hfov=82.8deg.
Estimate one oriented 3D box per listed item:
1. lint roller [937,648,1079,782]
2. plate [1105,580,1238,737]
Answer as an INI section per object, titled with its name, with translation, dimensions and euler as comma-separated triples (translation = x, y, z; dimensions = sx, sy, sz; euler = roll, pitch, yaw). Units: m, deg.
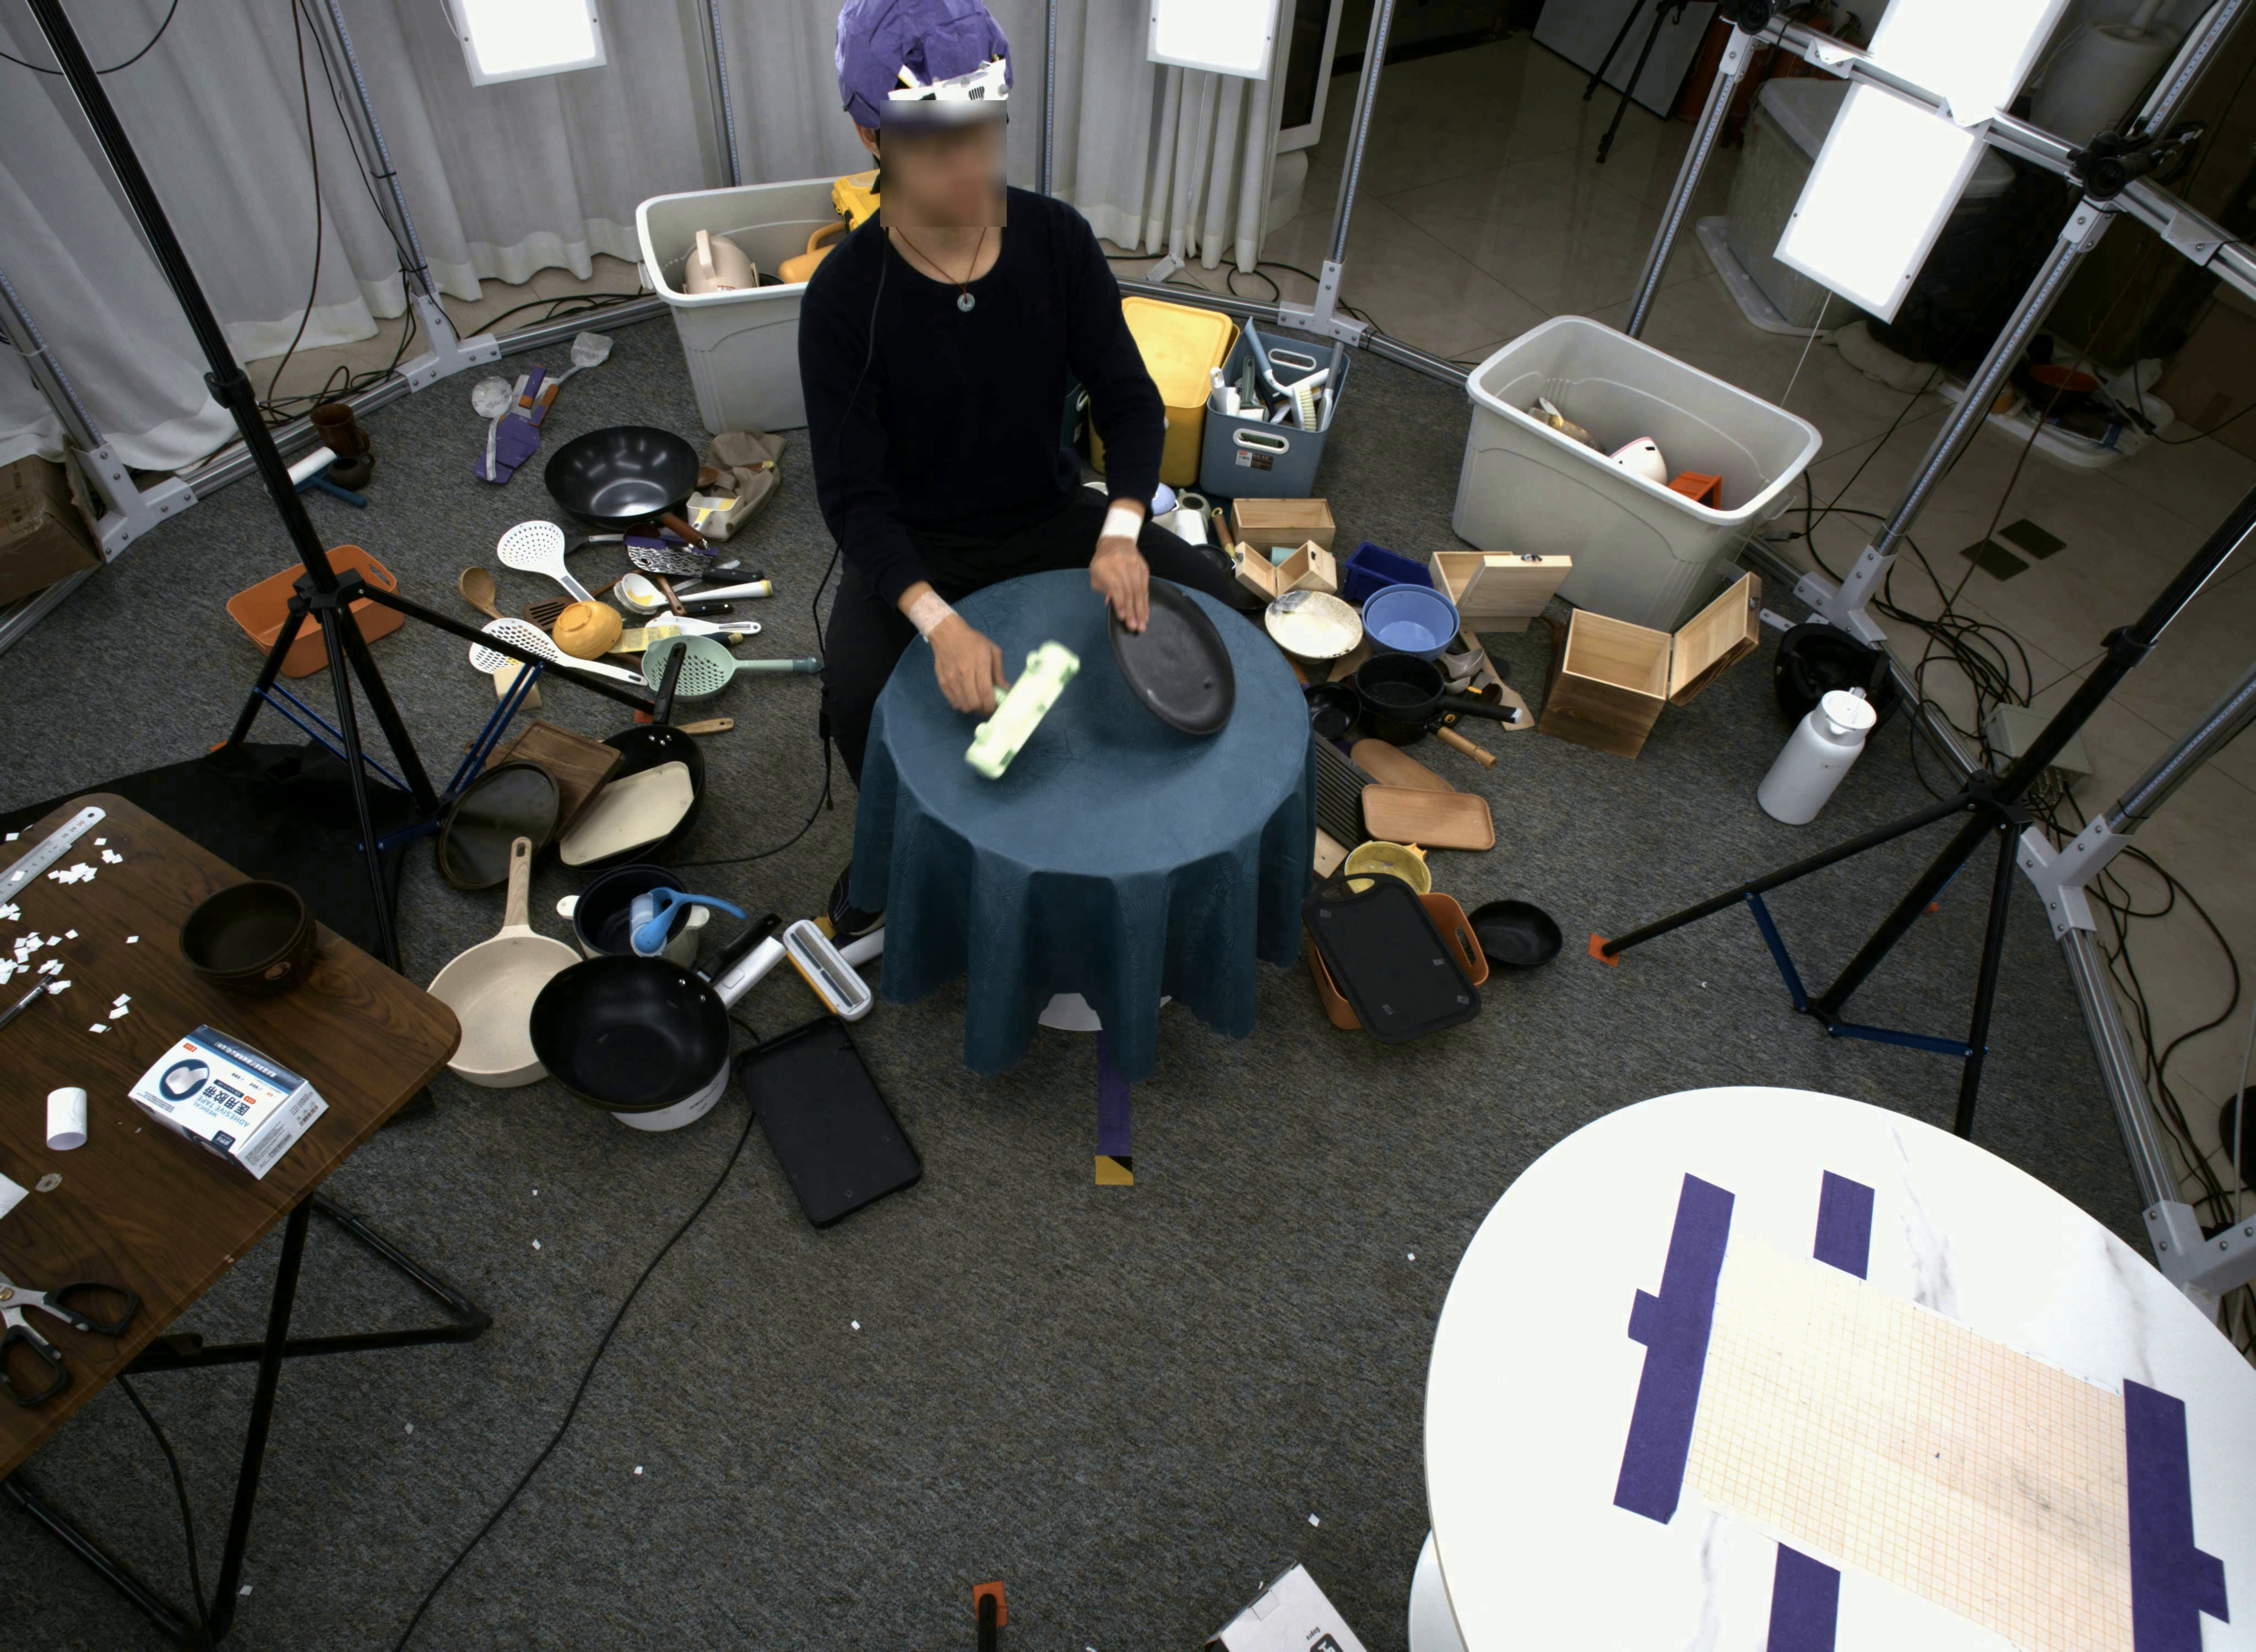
[lint roller]
translation = -0.191, -0.179, 1.717
dimensions = 0.185, 0.080, 0.200
euler = 32, 76, 19
[plate]
translation = 0.058, -0.230, 1.785
dimensions = 0.241, 0.023, 0.250
euler = 22, 53, -33
